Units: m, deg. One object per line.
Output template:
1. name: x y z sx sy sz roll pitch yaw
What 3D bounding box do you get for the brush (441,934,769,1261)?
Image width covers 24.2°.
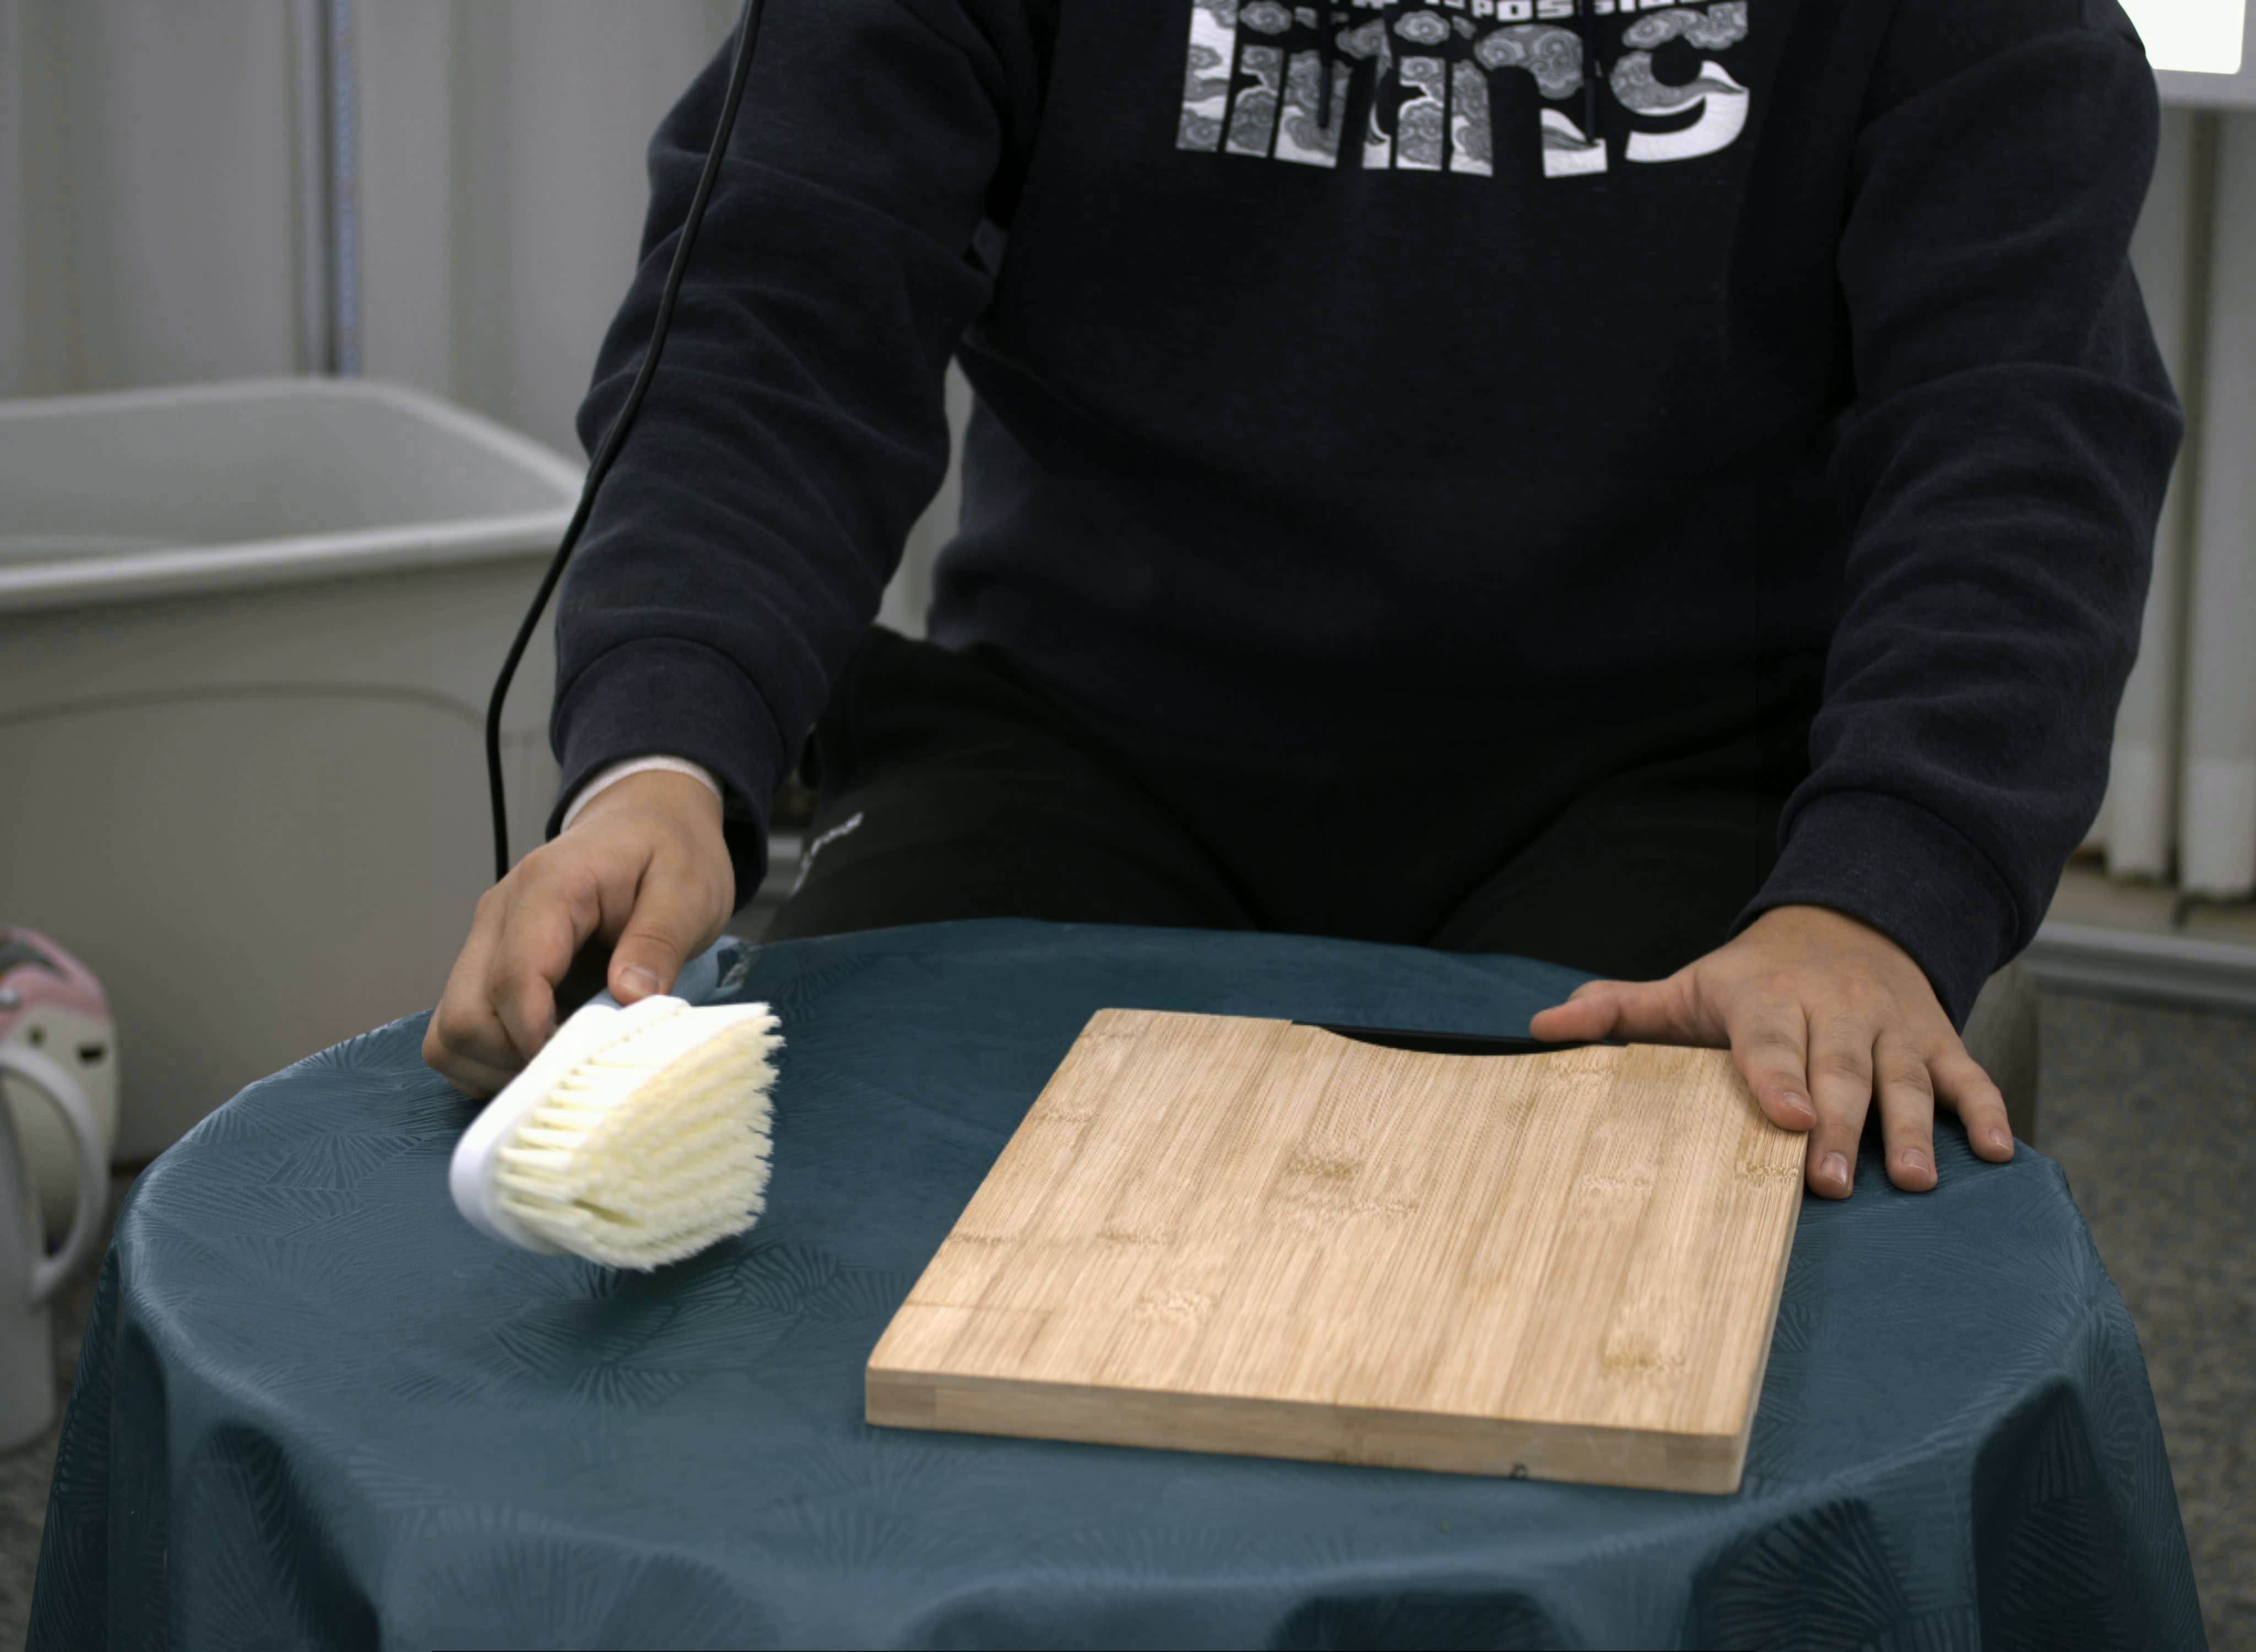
1. brush: -0.131 0.069 1.620 0.084 0.083 0.325 38 13 1

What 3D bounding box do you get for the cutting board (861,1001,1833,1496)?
1. cutting board: 0.078 0.118 1.579 0.249 0.024 0.348 4 16 9
